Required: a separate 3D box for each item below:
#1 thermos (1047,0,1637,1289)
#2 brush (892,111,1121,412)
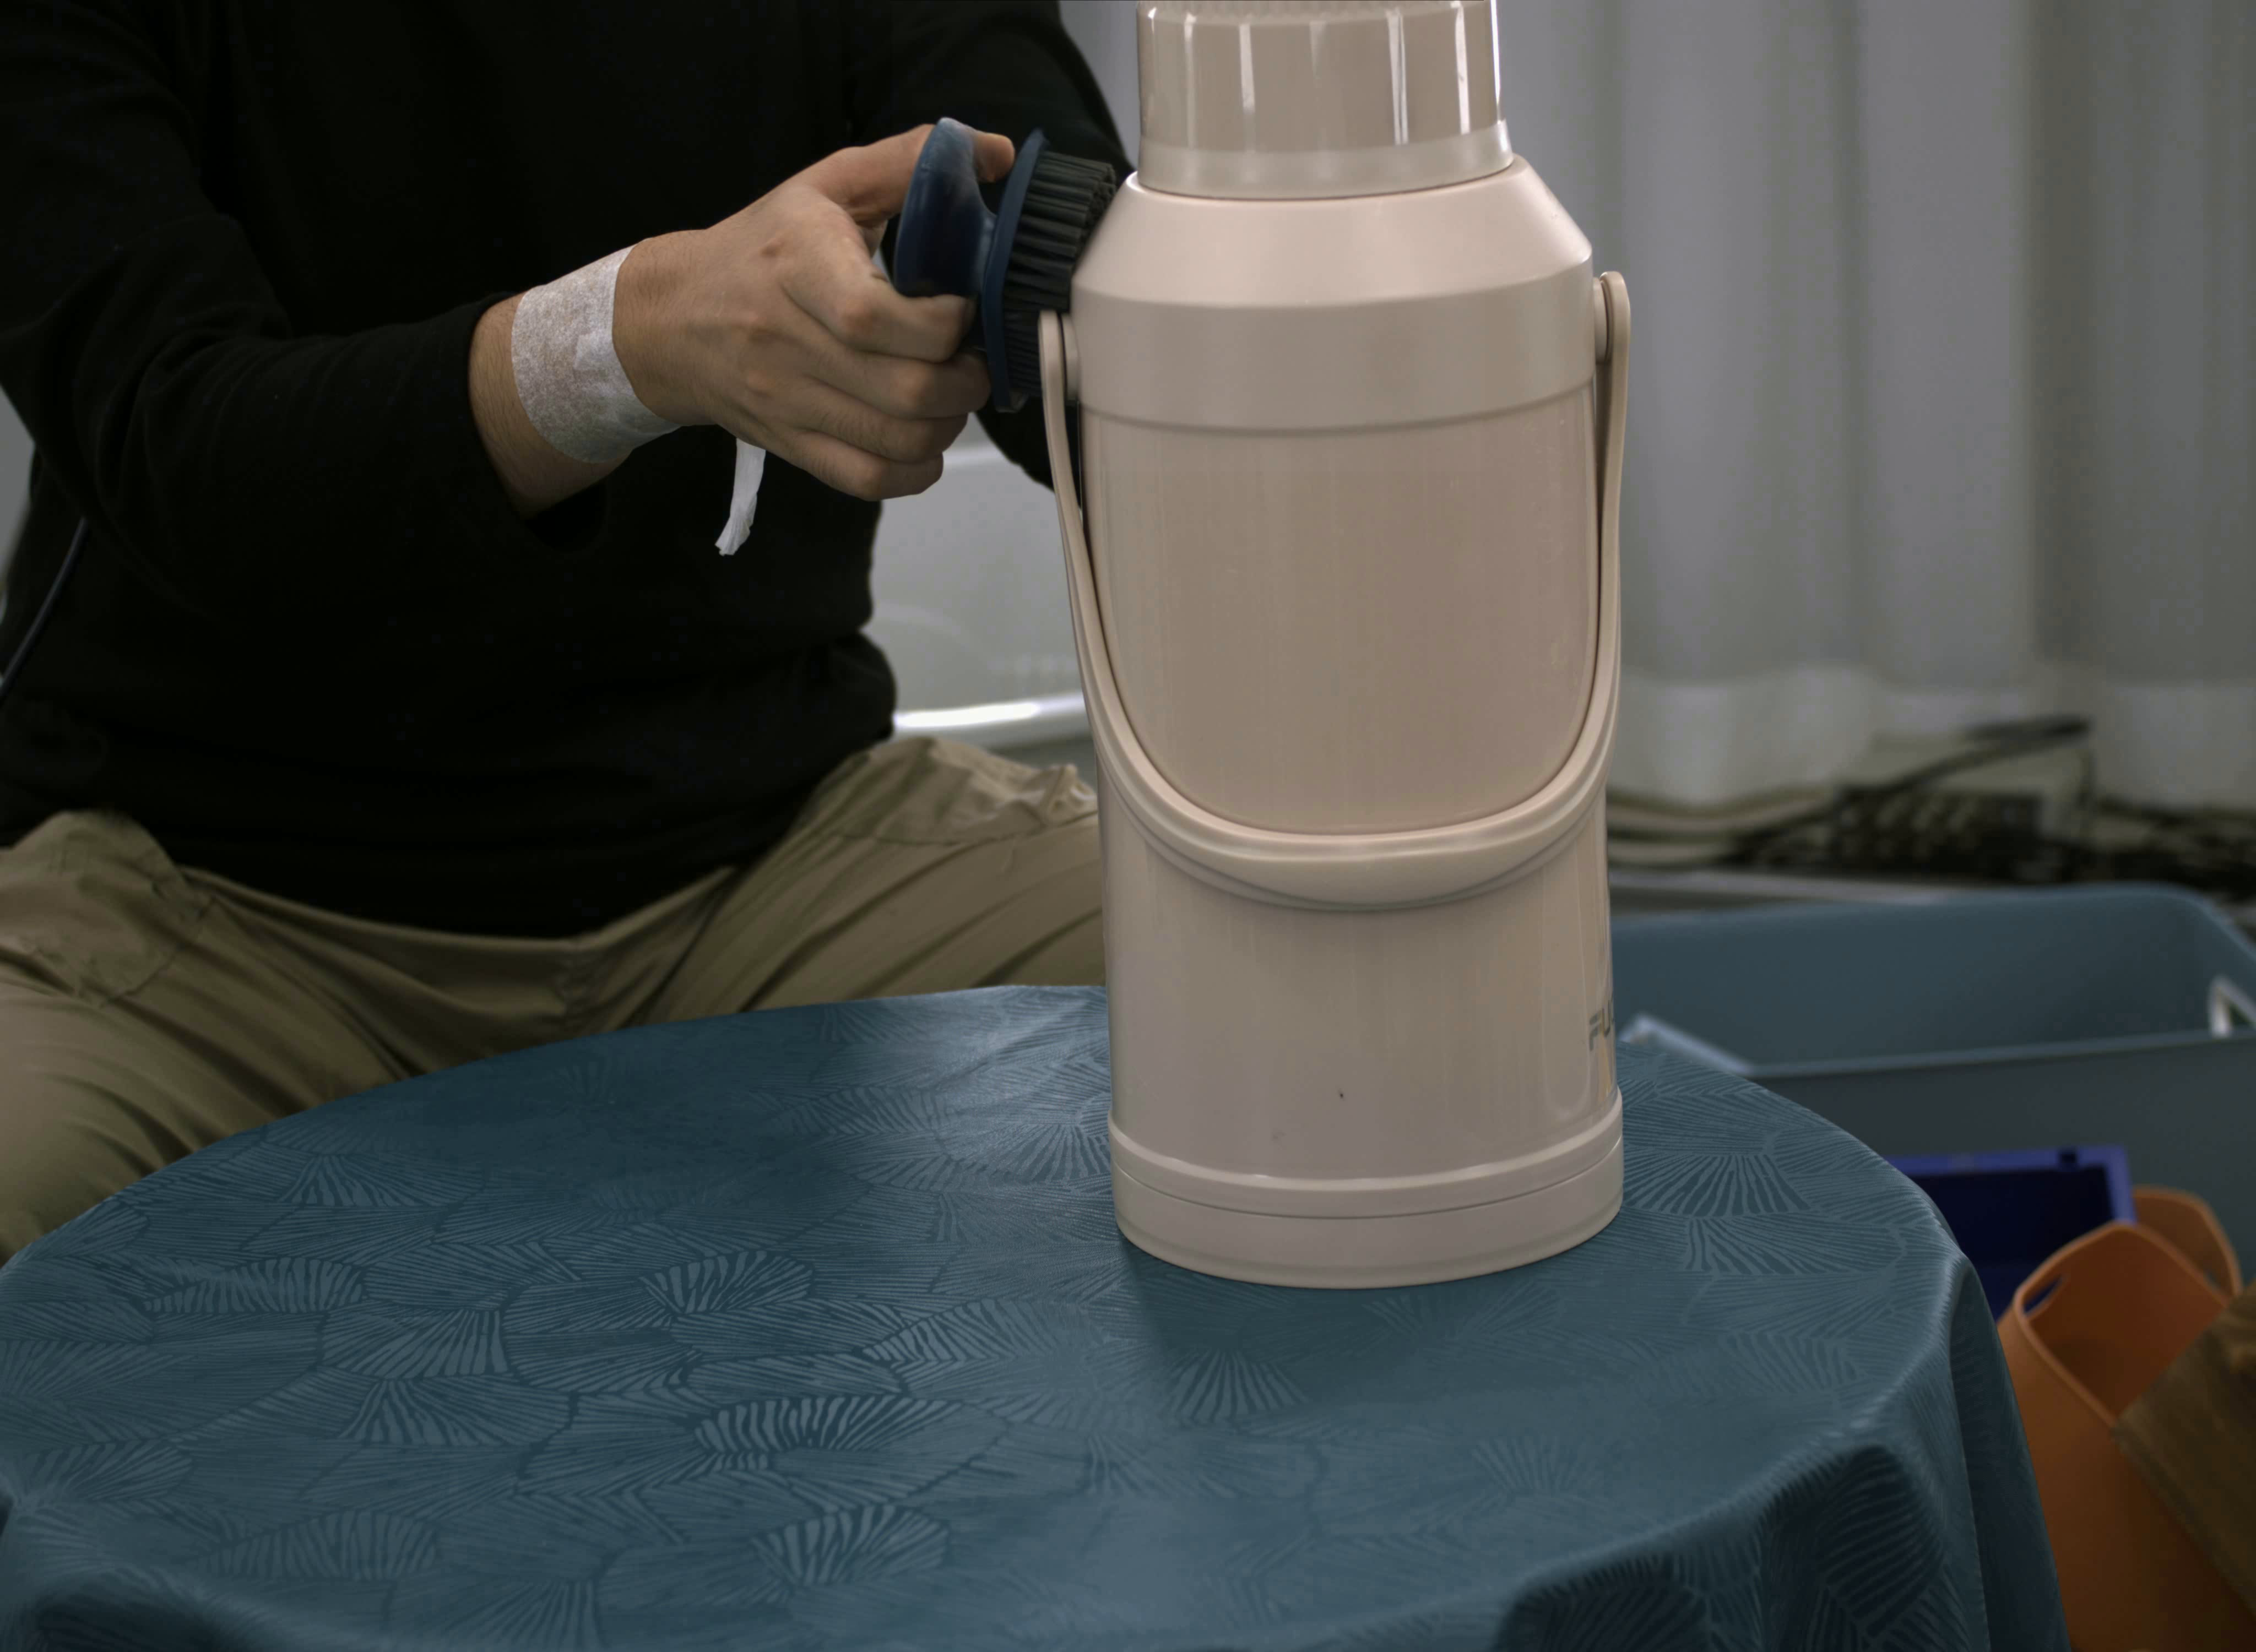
[{"bbox_3d":[0.067,-0.078,1.660,0.174,0.405,0.208,-5,14,-4],"label":"thermos"},{"bbox_3d":[-0.034,-0.169,1.664,0.061,0.068,0.120,16,-17,7],"label":"brush"}]
